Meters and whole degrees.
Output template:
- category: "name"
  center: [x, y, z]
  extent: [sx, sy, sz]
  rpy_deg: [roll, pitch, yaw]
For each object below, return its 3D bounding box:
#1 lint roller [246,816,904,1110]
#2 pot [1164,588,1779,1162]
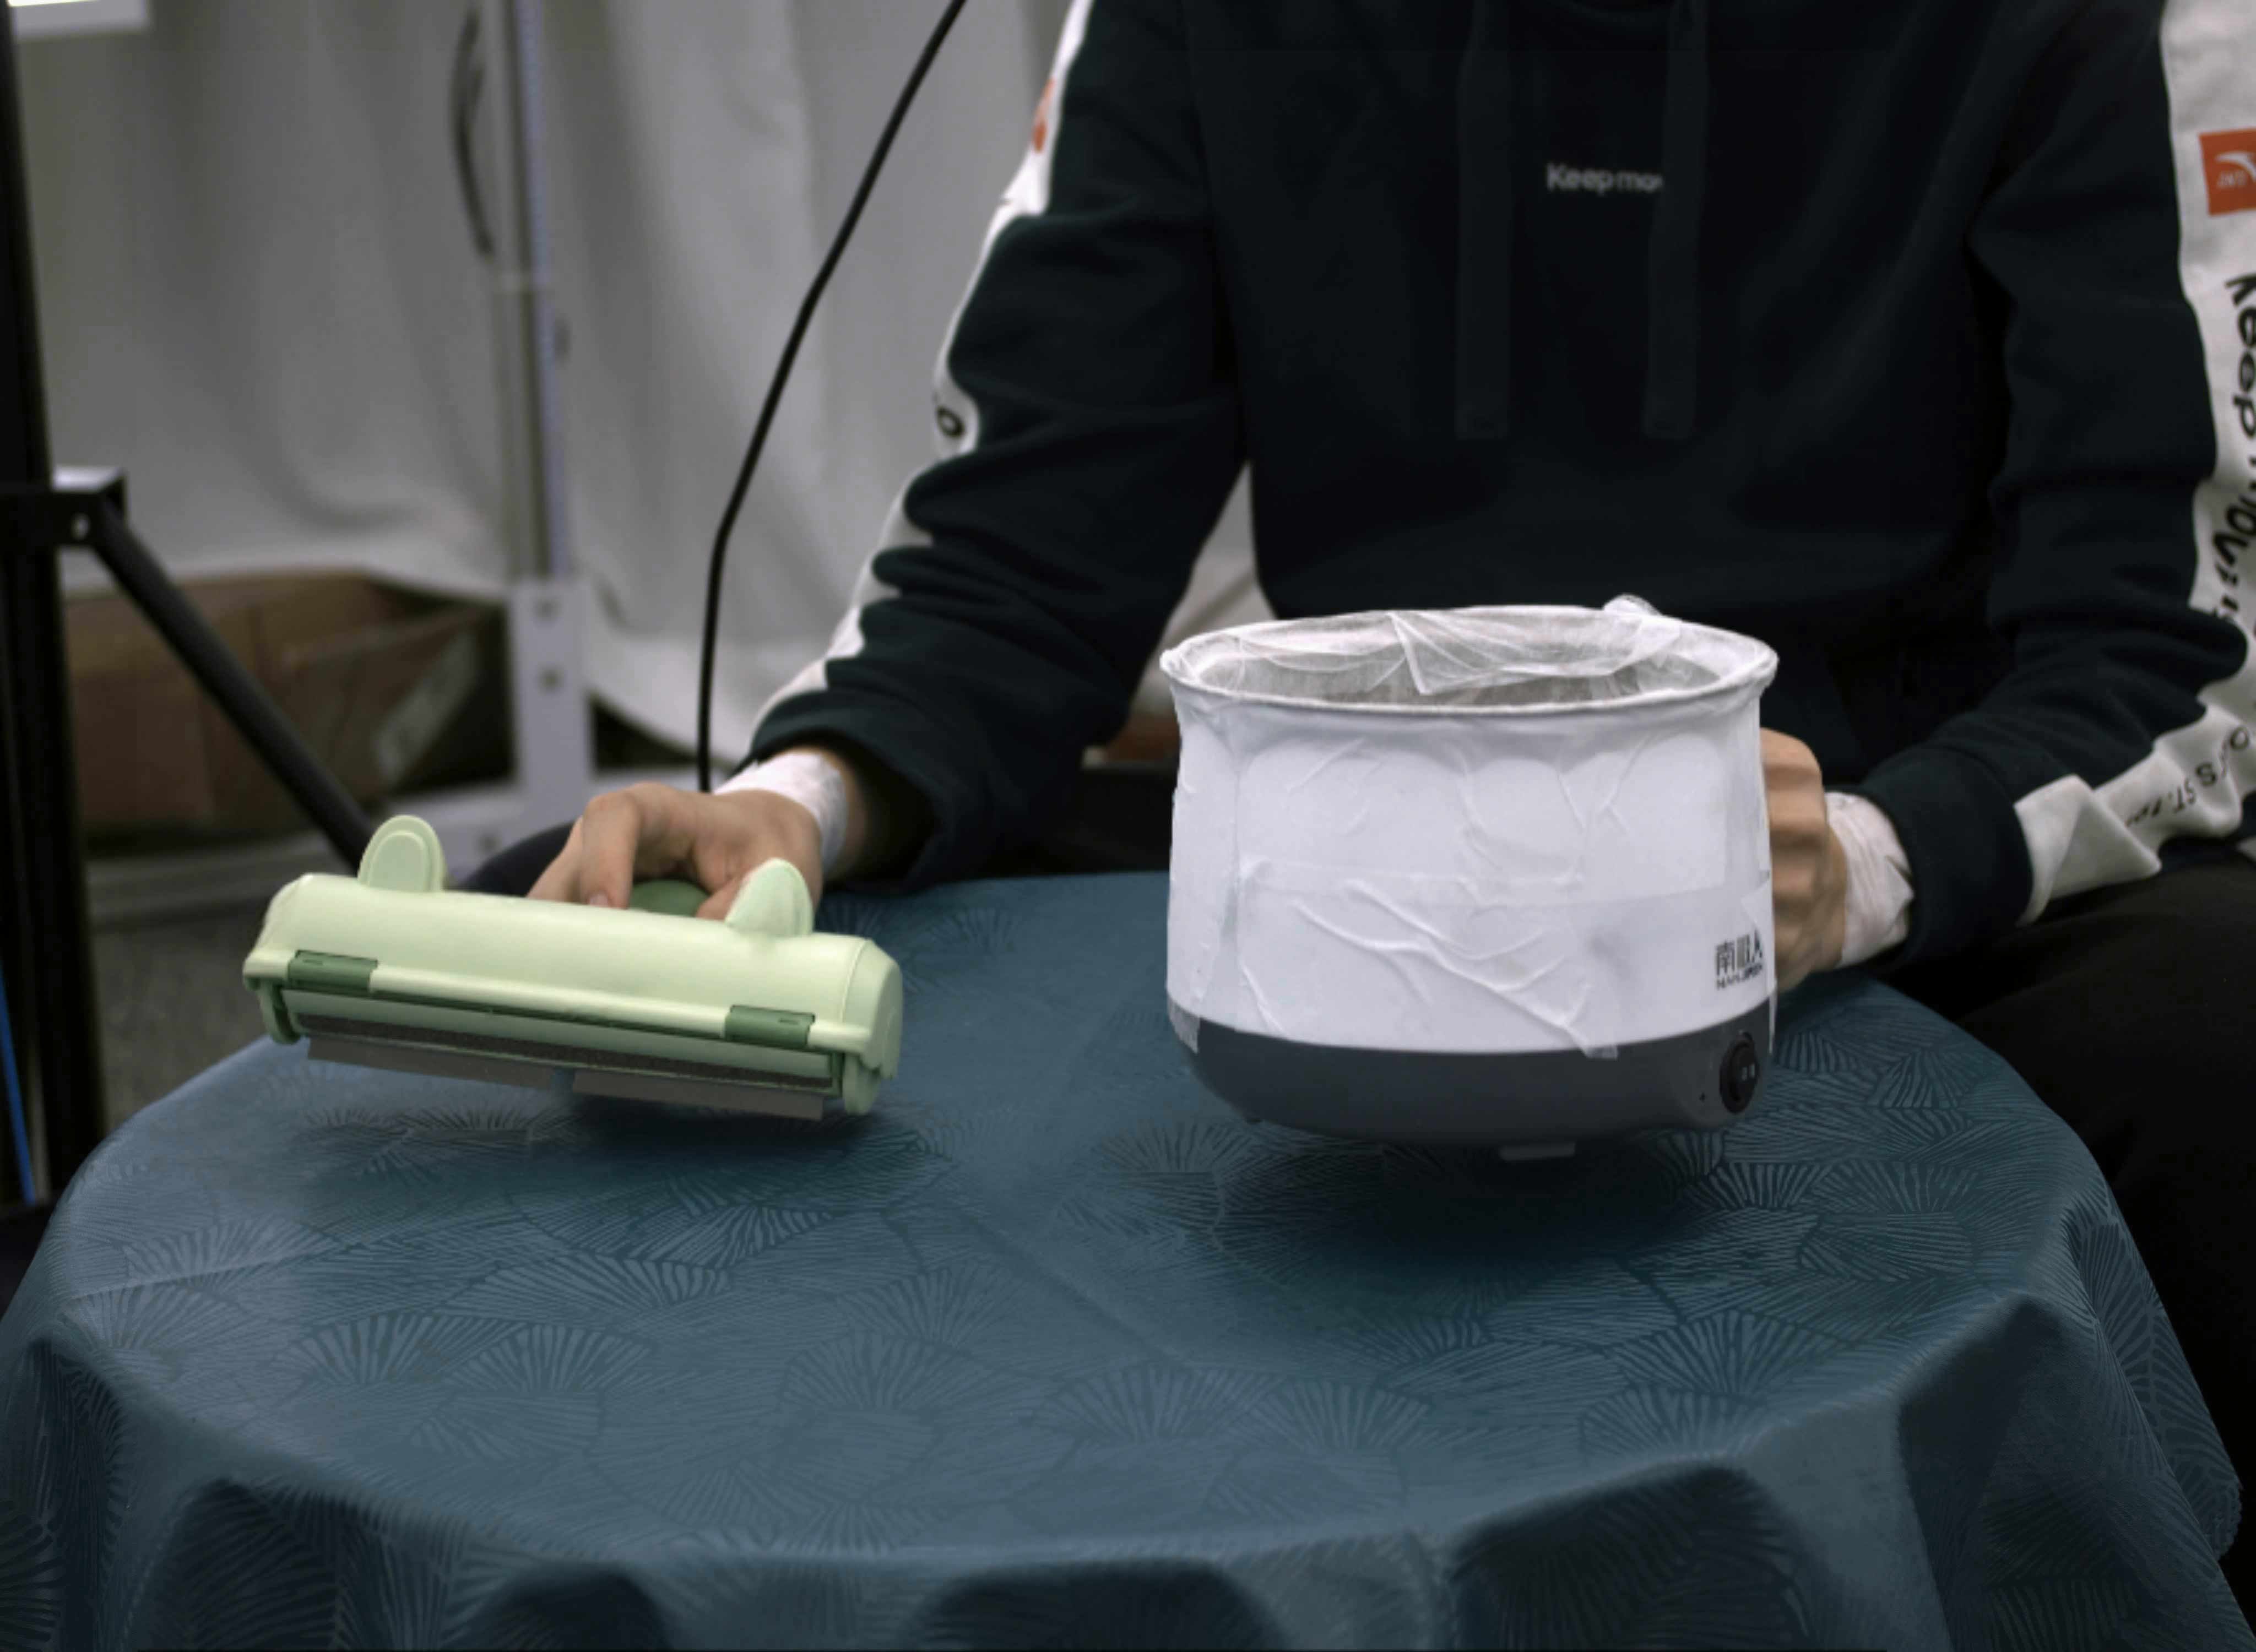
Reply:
- category: "lint roller"
  center: [-0.157, 0.027, 1.680]
  extent: [0.199, 0.082, 0.182]
  rpy_deg: [6, 20, 11]
- category: "pot"
  center: [0.113, 0.008, 1.552]
  extent: [0.182, 0.137, 0.229]
  rpy_deg: [6, 13, 32]
